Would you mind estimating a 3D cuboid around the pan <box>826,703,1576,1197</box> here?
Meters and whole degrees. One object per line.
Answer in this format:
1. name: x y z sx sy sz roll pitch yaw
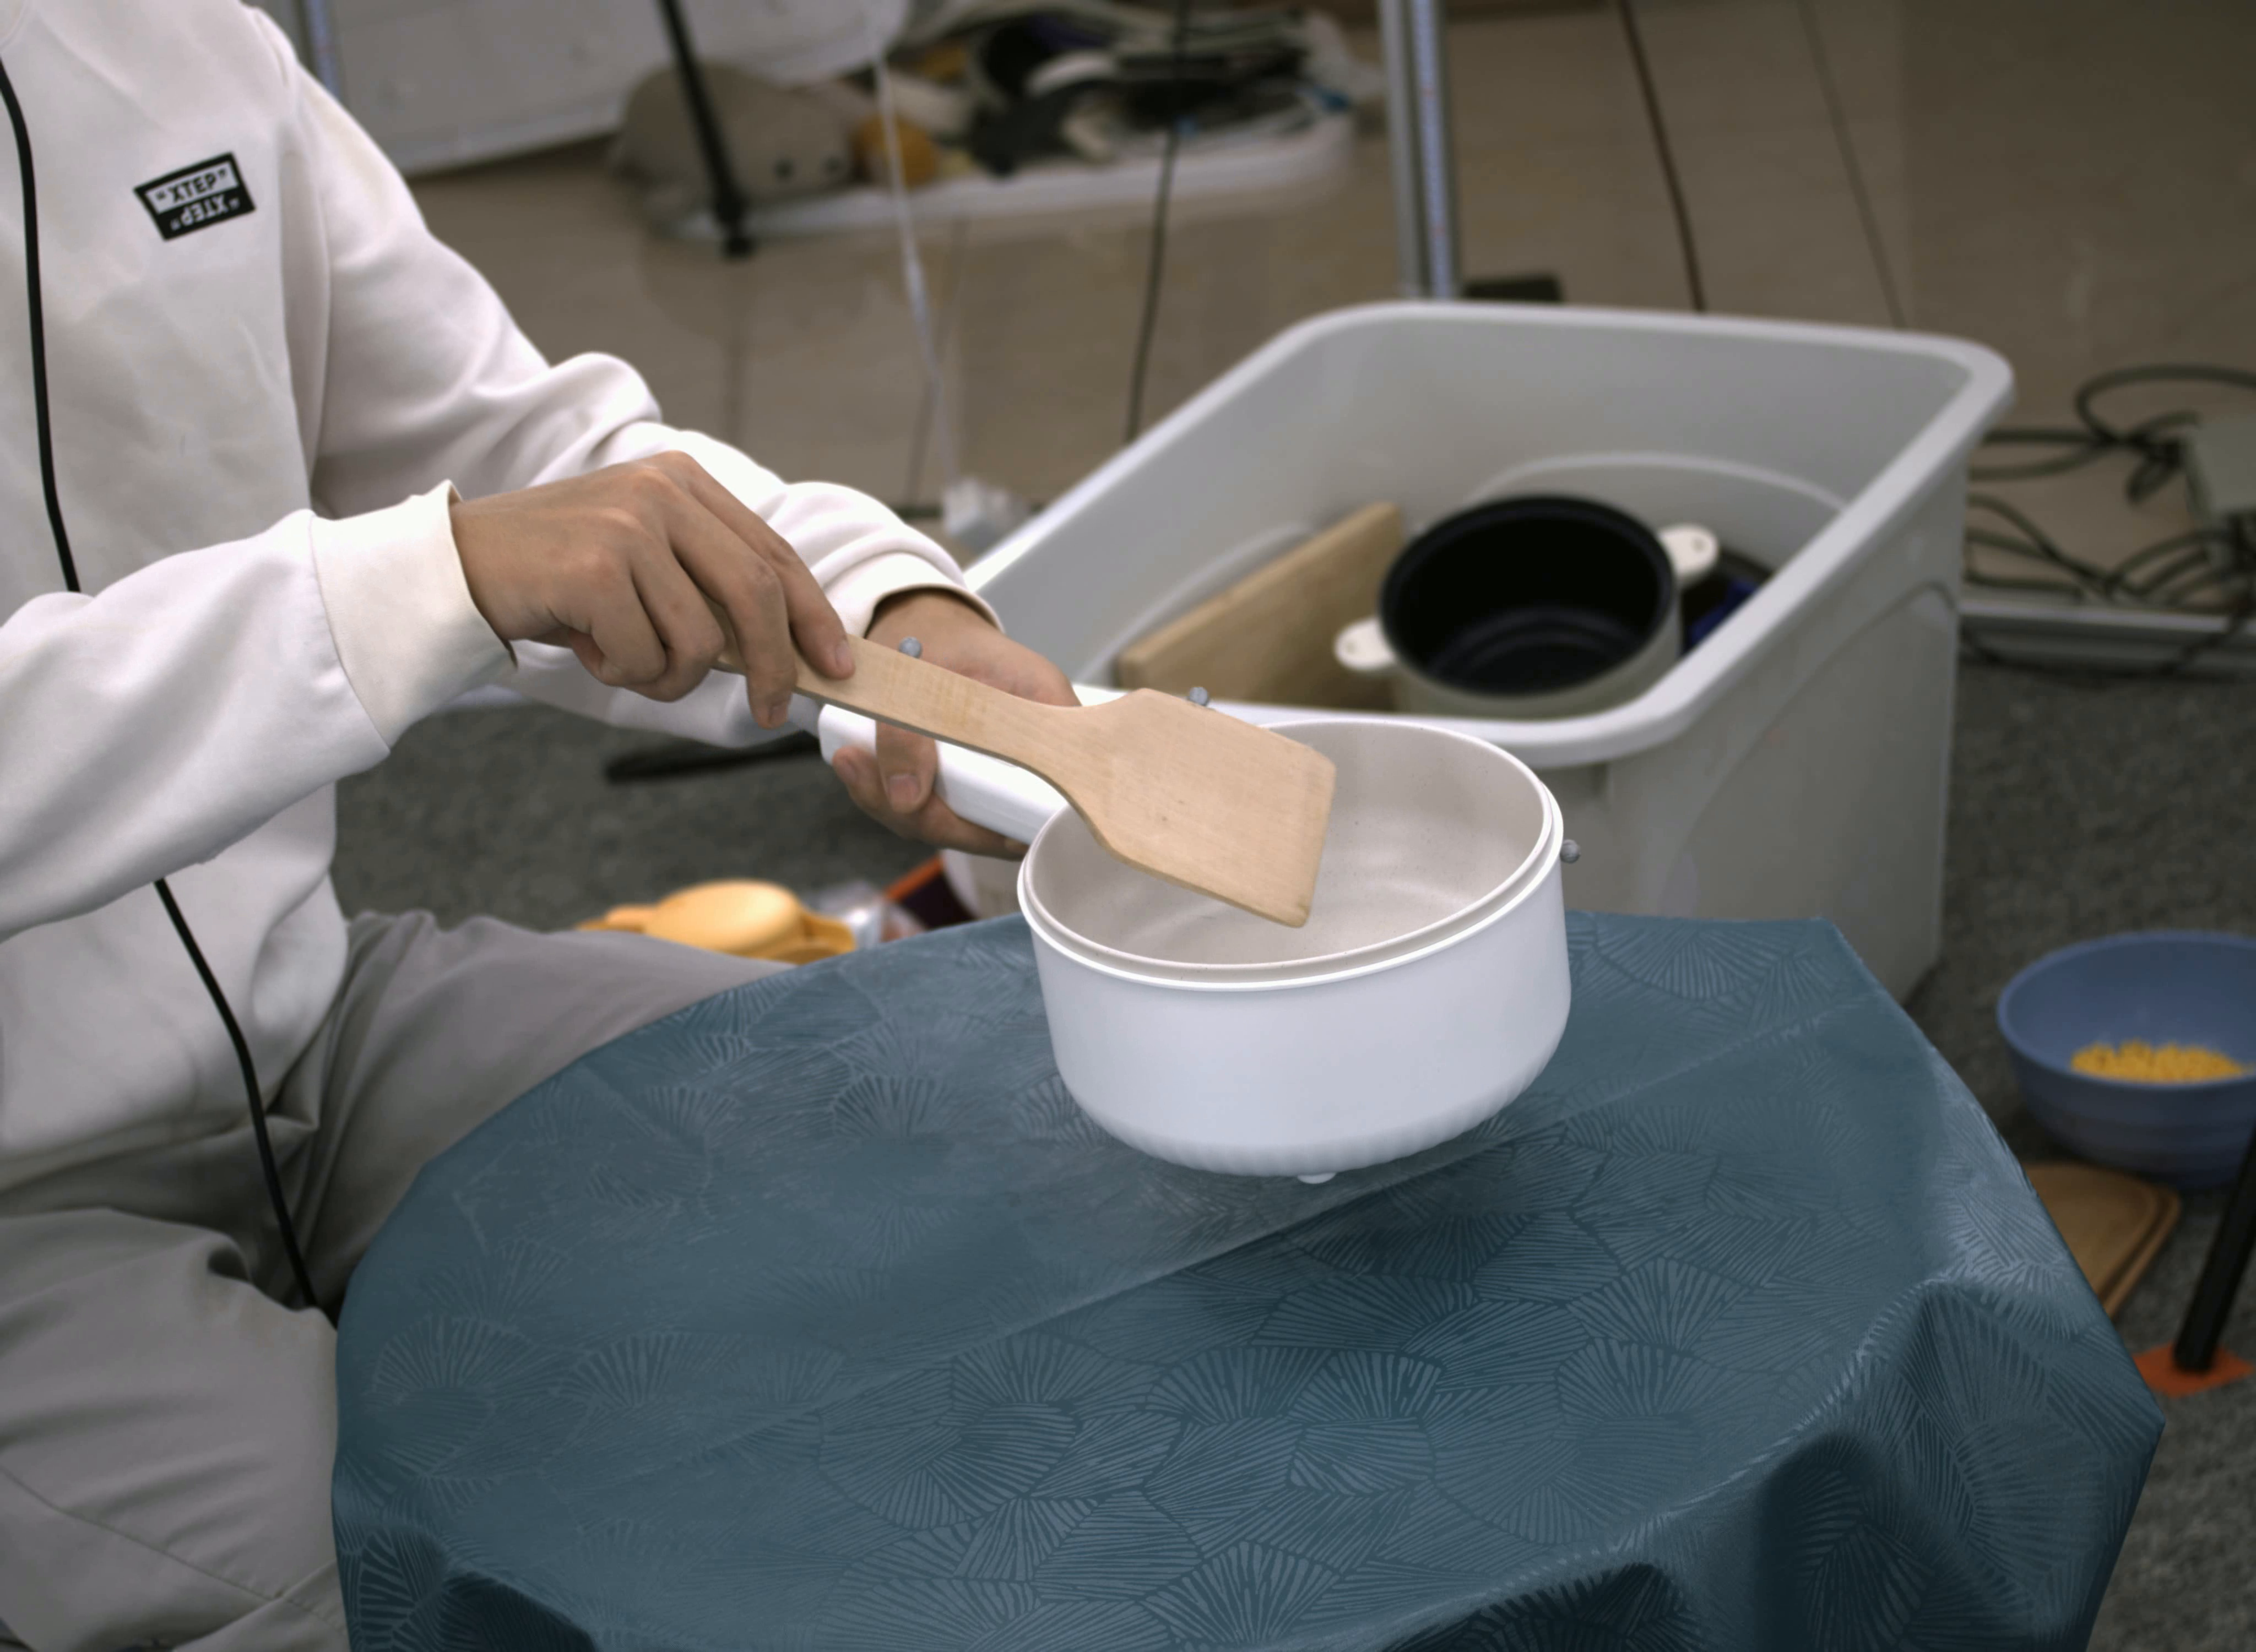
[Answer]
1. pan: 0.016 0.037 2.153 0.199 0.104 0.352 -33 33 -32
